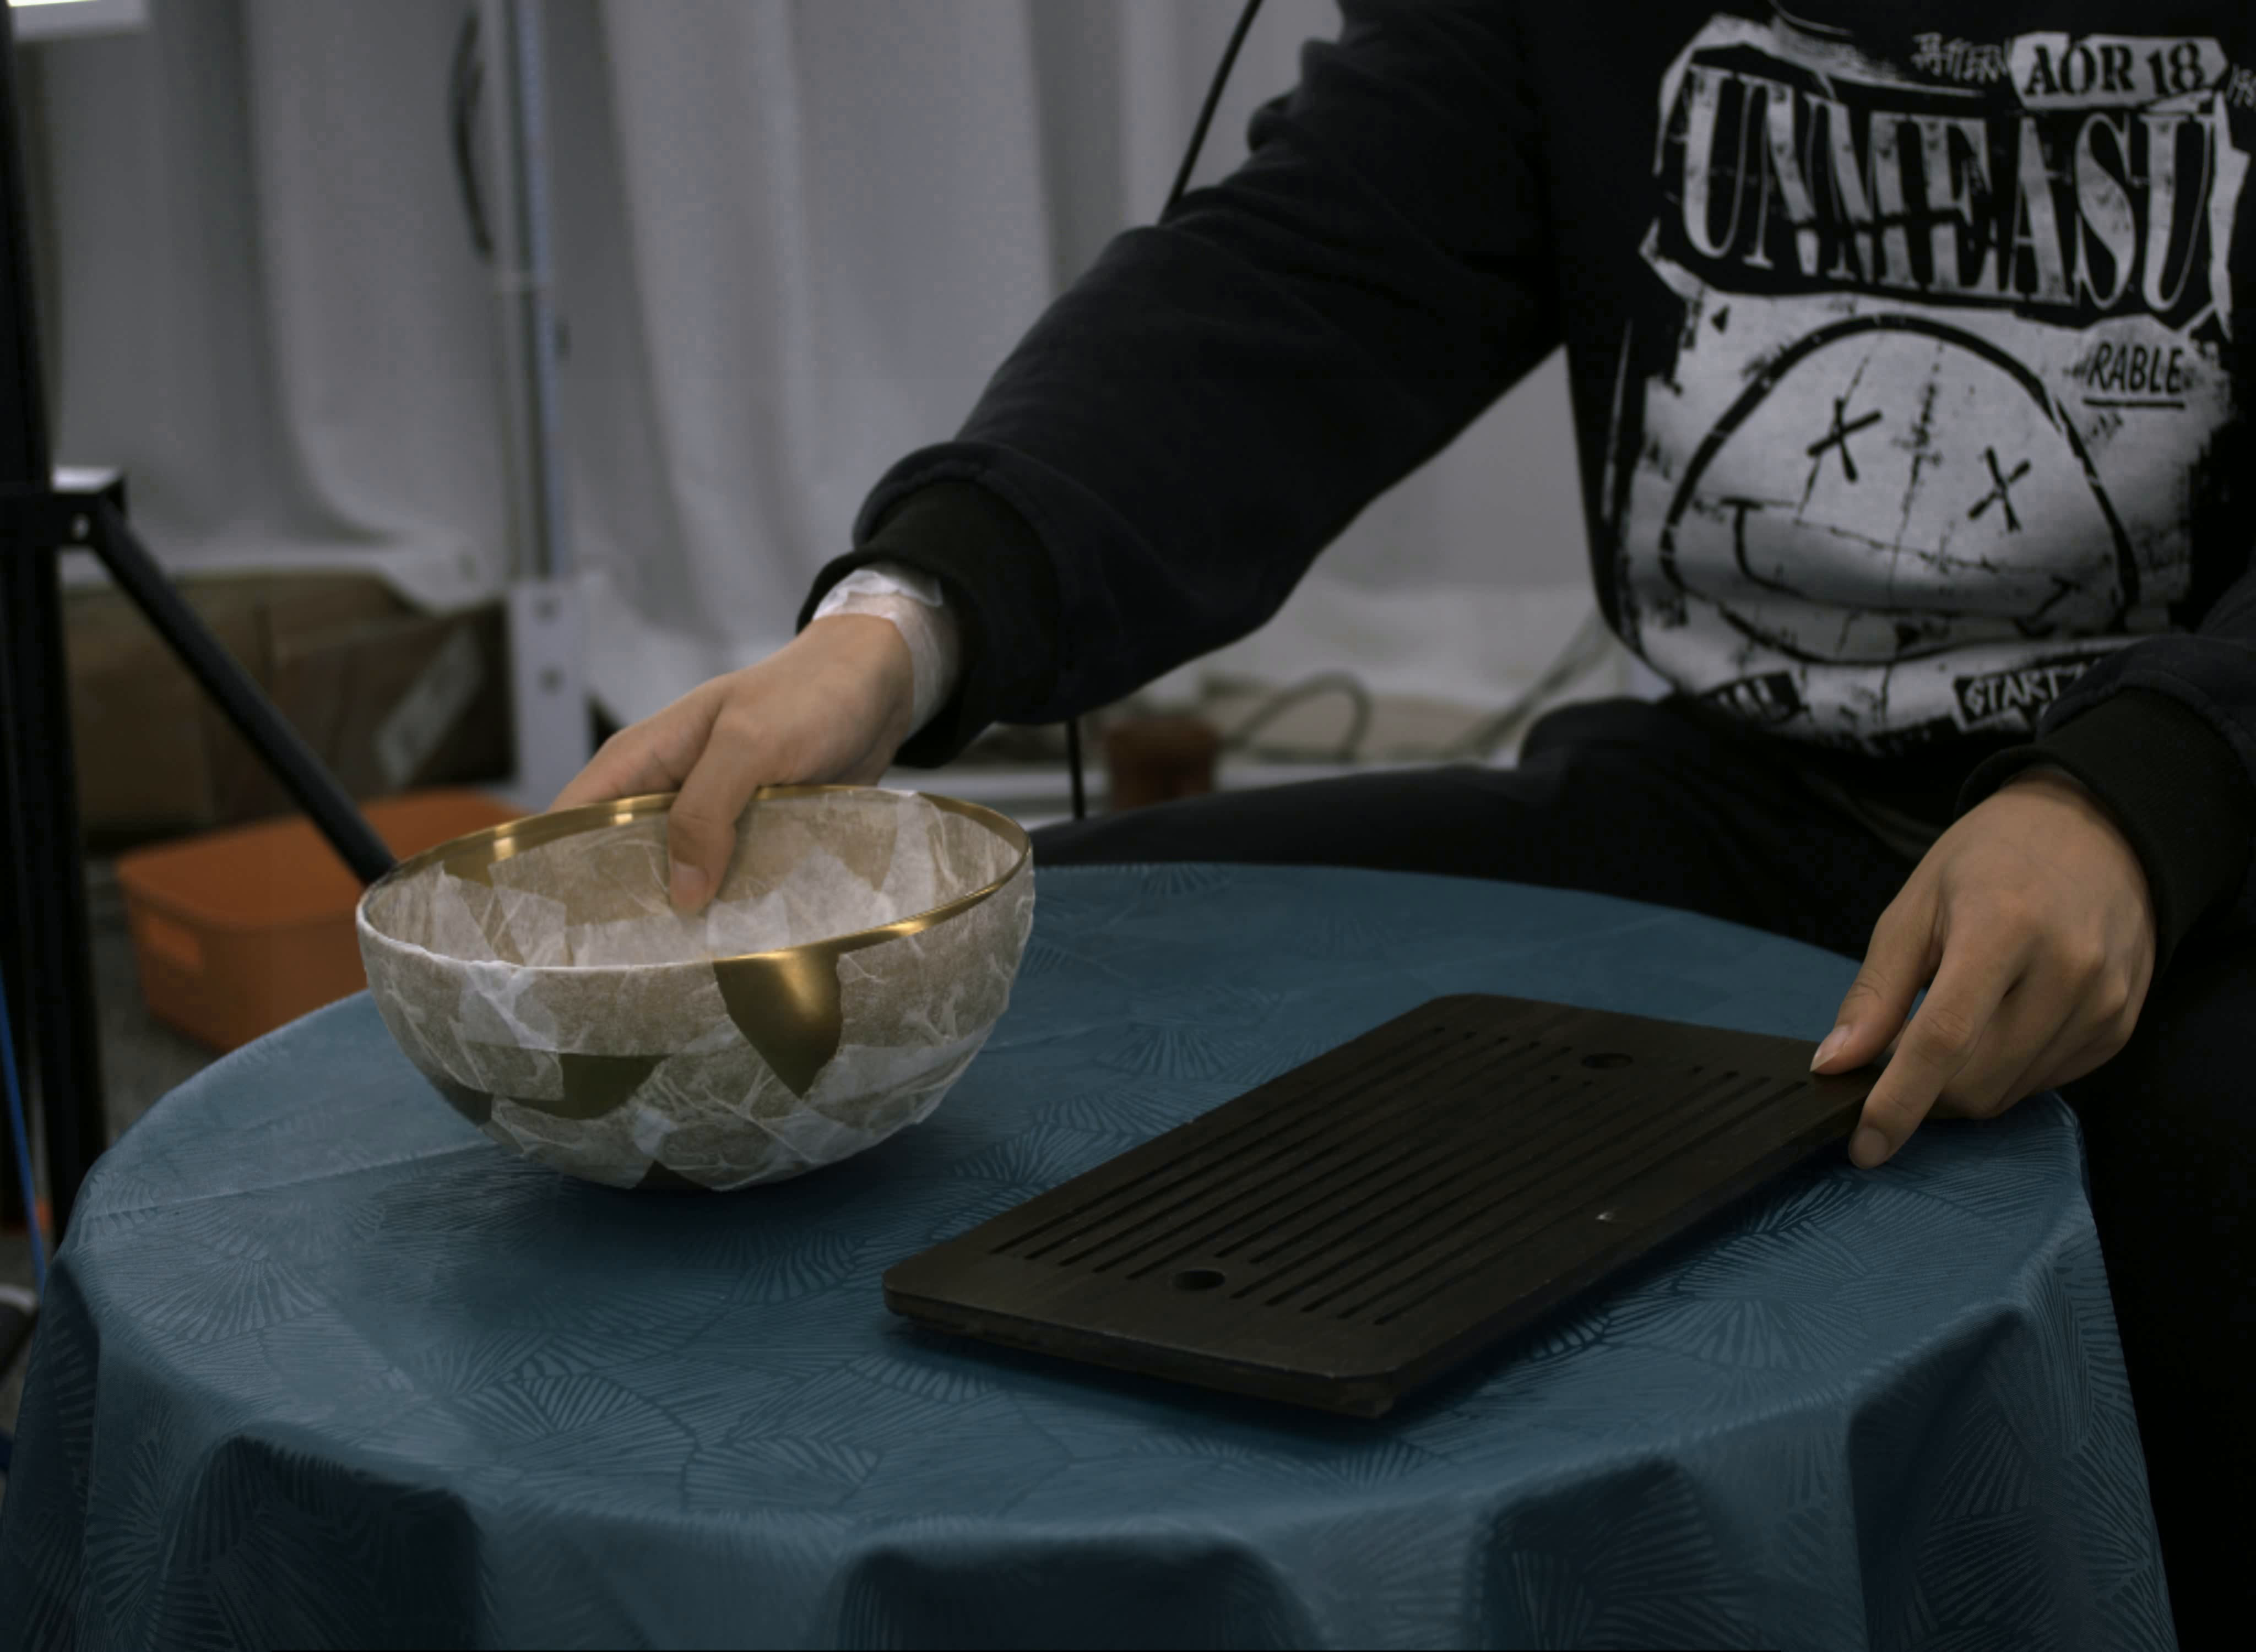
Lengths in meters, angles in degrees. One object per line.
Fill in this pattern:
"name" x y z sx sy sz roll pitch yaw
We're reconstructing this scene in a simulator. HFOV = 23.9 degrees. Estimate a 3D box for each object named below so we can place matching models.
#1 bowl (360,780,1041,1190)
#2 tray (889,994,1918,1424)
"bowl" -0.120 0.054 1.593 0.214 0.094 0.216 -6 14 0
"tray" 0.085 0.106 1.513 0.173 0.018 0.299 8 19 36
